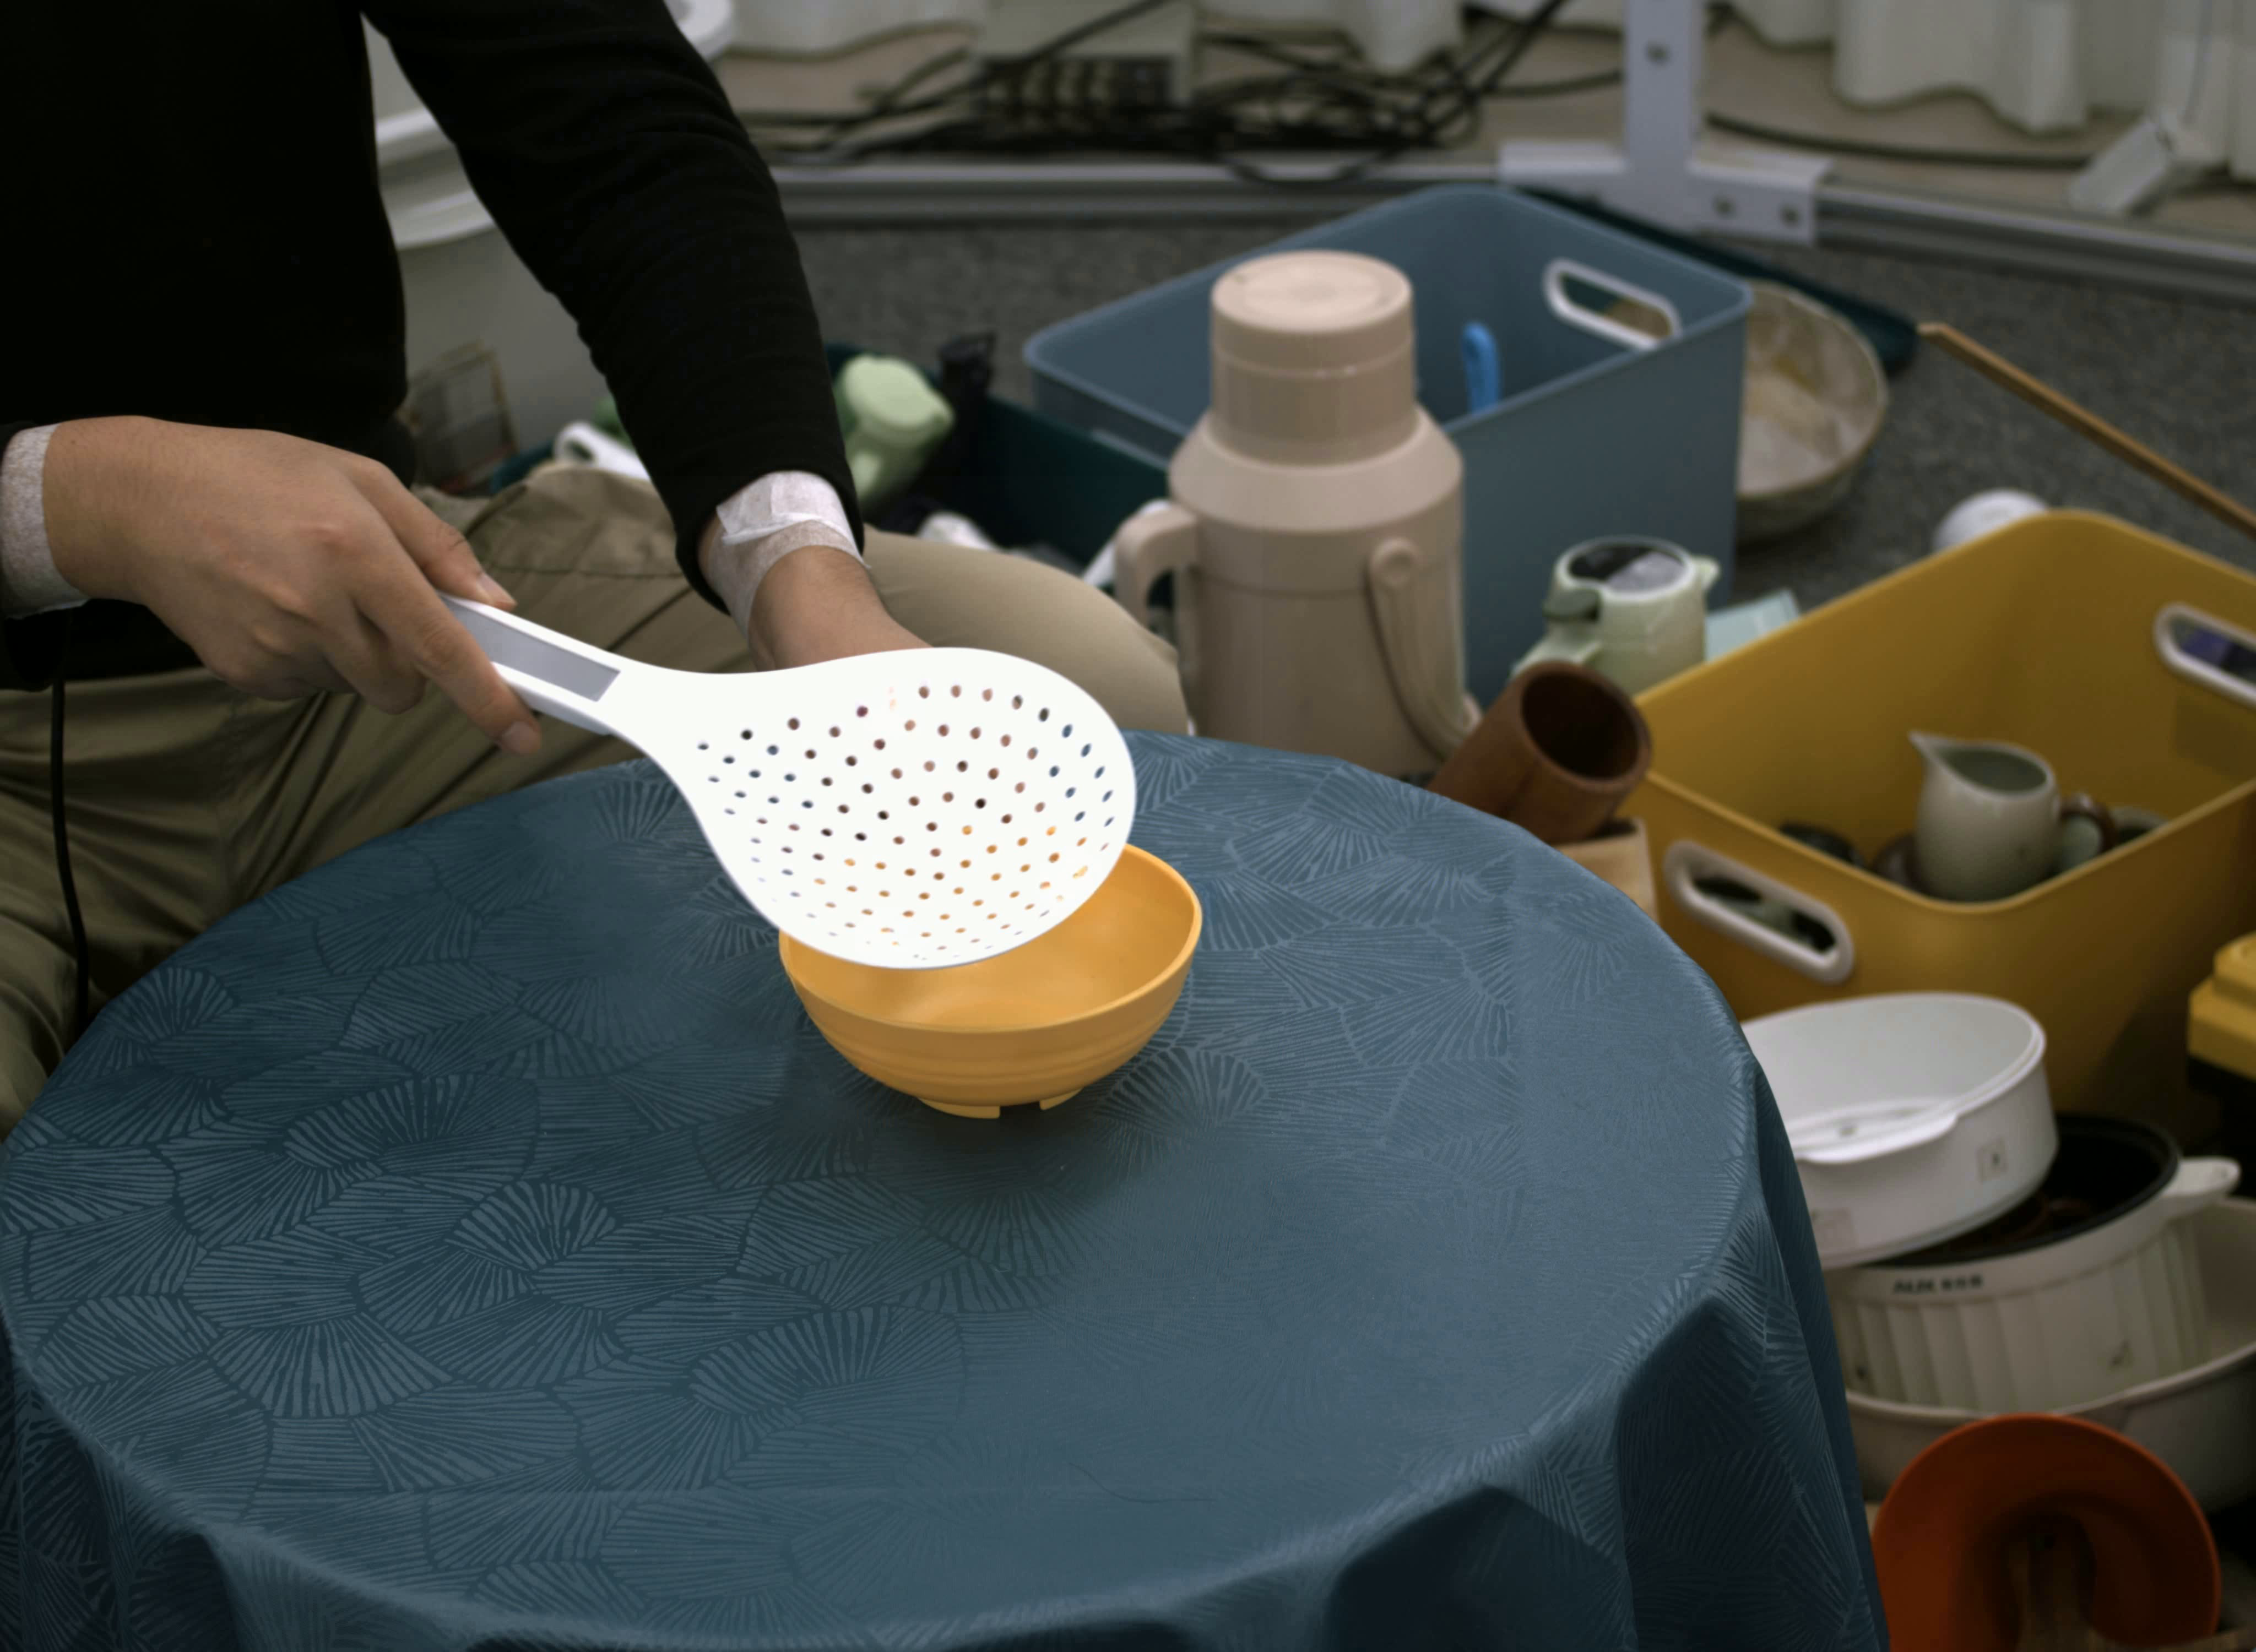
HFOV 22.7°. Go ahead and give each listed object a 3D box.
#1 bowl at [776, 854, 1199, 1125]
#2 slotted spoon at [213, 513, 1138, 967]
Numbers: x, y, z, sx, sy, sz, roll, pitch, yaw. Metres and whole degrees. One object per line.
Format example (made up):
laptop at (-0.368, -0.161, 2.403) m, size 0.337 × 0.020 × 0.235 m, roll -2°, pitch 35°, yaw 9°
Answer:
bowl at (-0.047, 0.061, 1.923) m, size 0.144 × 0.059 × 0.147 m, roll -1°, pitch 27°, yaw 1°
slotted spoon at (-0.158, -0.039, 1.889) m, size 0.349 × 0.045 × 0.138 m, roll 23°, pitch 55°, yaw 16°
